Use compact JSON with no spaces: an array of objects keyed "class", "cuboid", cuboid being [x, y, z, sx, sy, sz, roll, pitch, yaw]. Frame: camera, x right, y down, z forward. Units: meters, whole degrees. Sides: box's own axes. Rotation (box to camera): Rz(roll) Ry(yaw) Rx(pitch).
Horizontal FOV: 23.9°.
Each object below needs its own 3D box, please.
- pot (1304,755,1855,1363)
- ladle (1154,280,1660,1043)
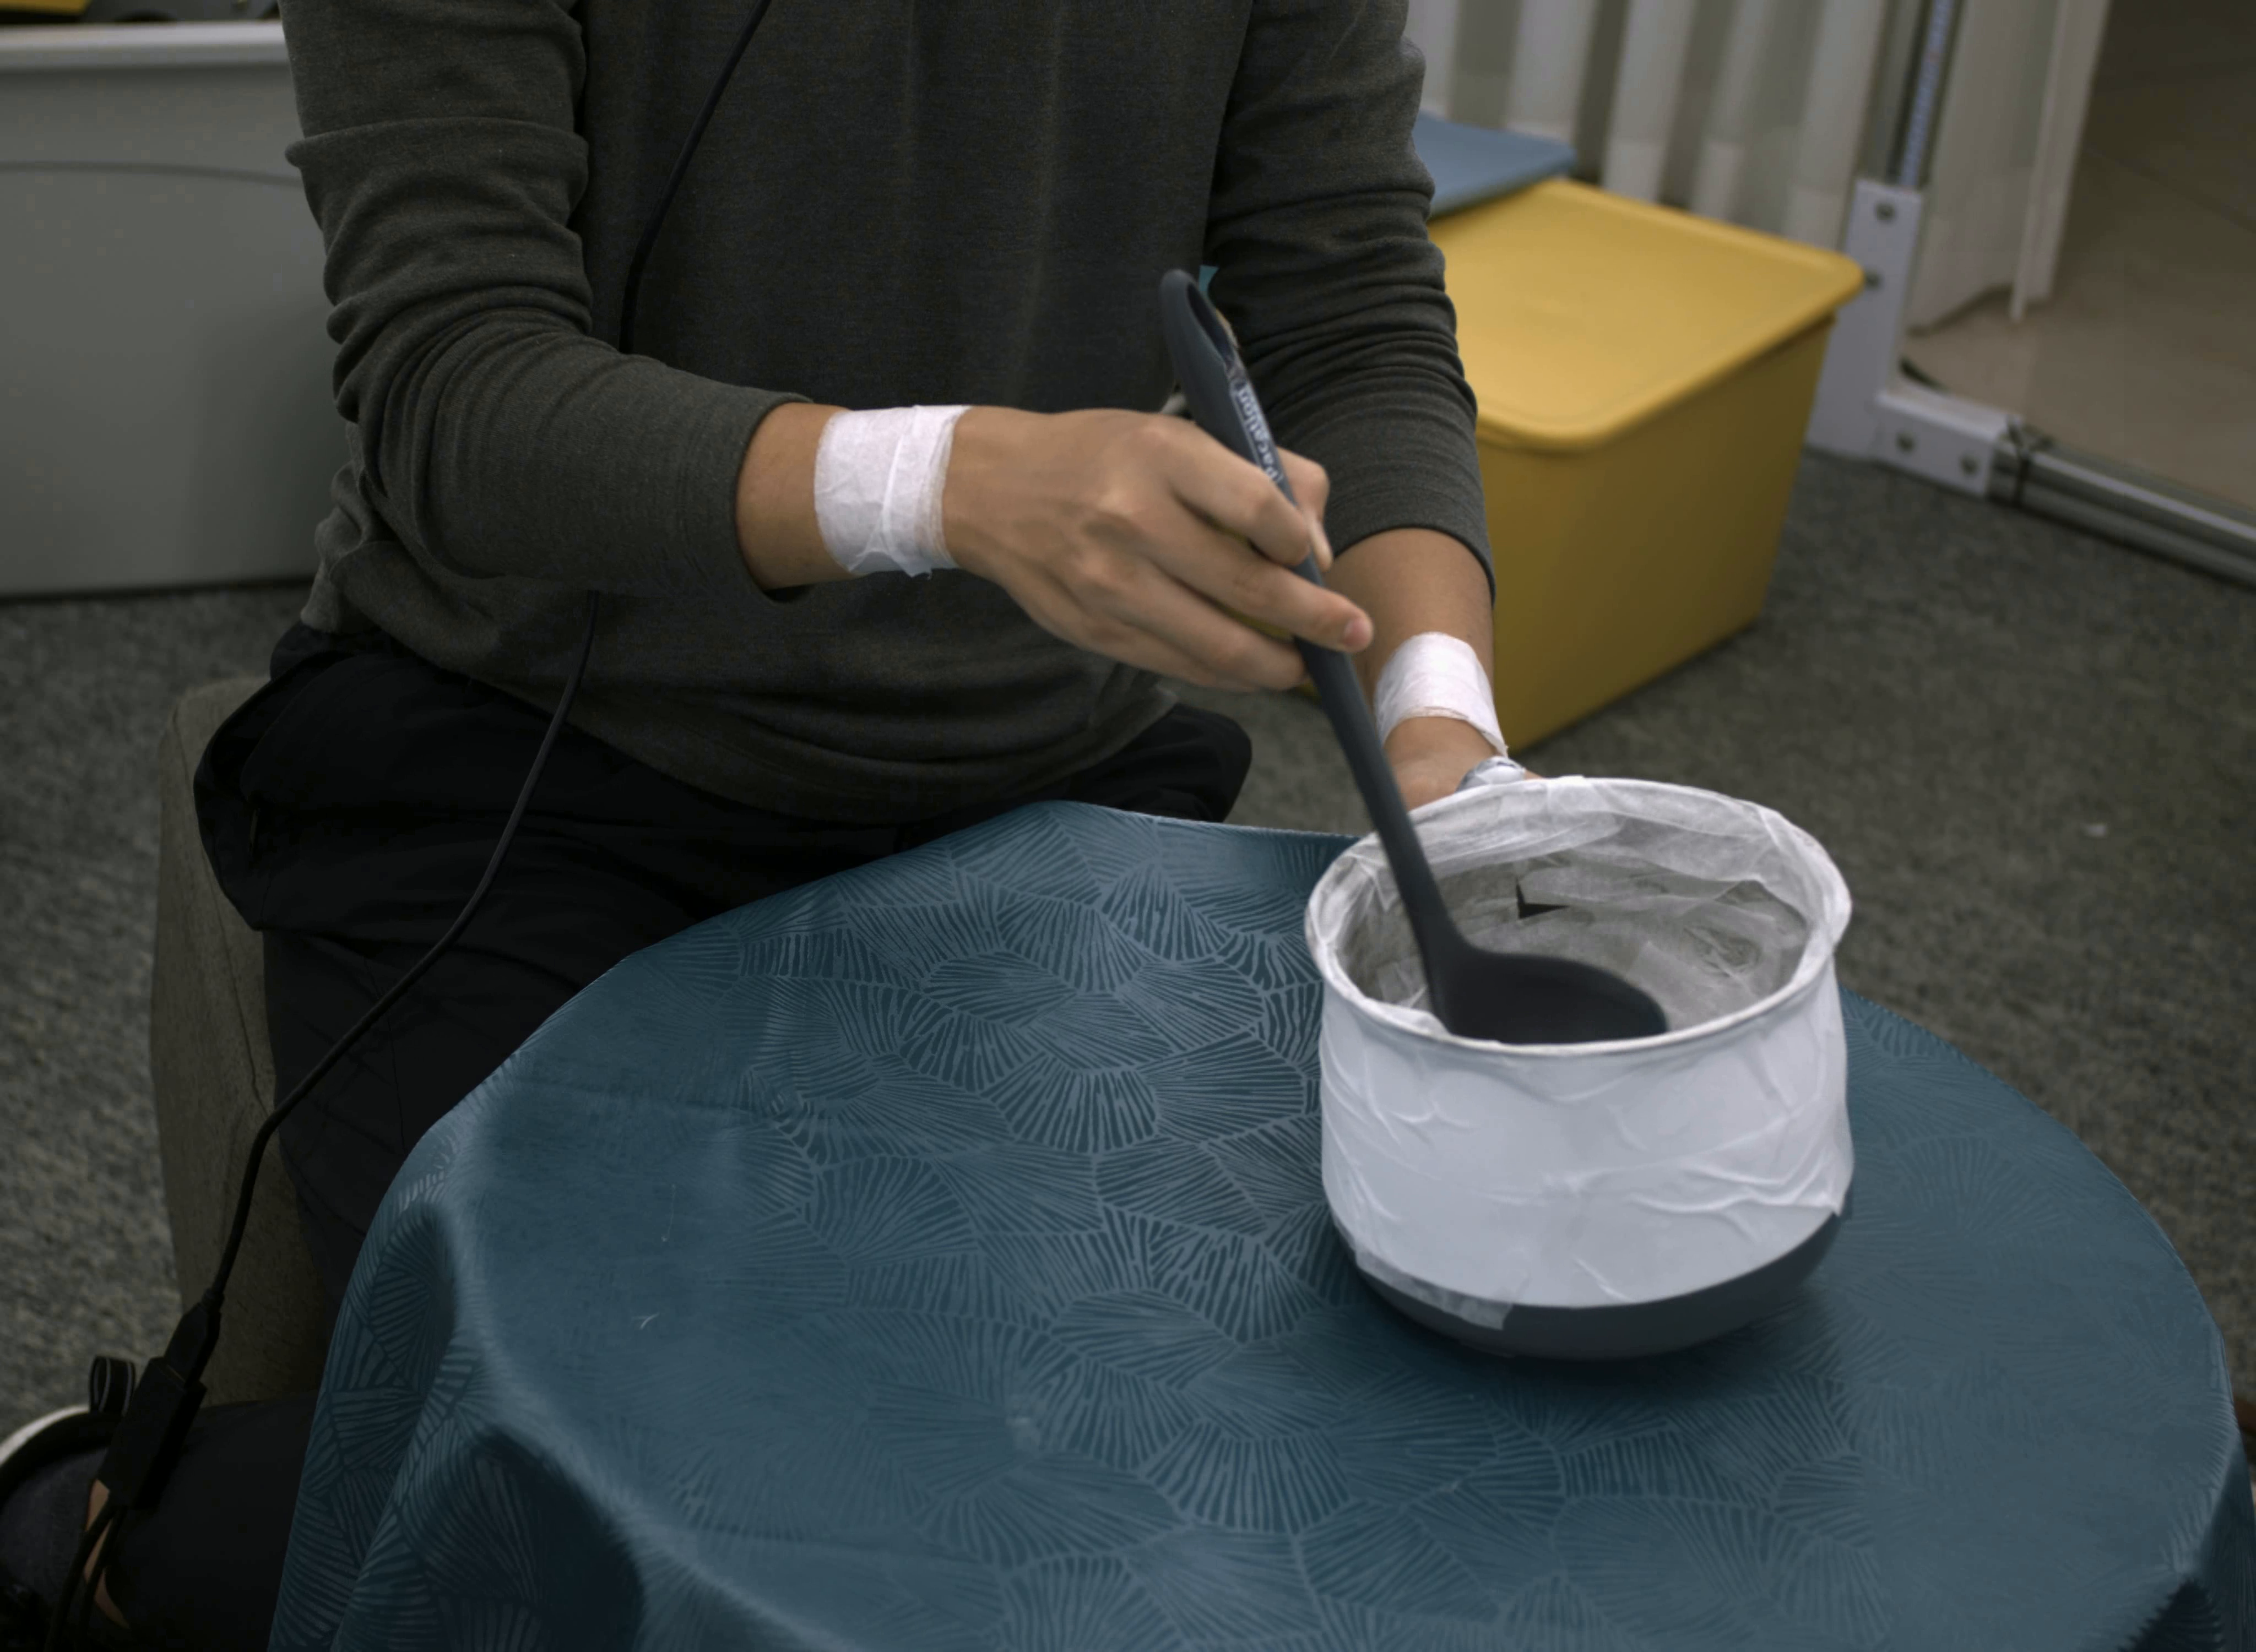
[{"class":"pot","cuboid":[0.144,0.069,1.776,0.178,0.136,0.235,-10,29,-9]},{"class":"ladle","cuboid":[0.089,-0.038,1.726,0.064,0.313,0.086,-13,17,32]}]
